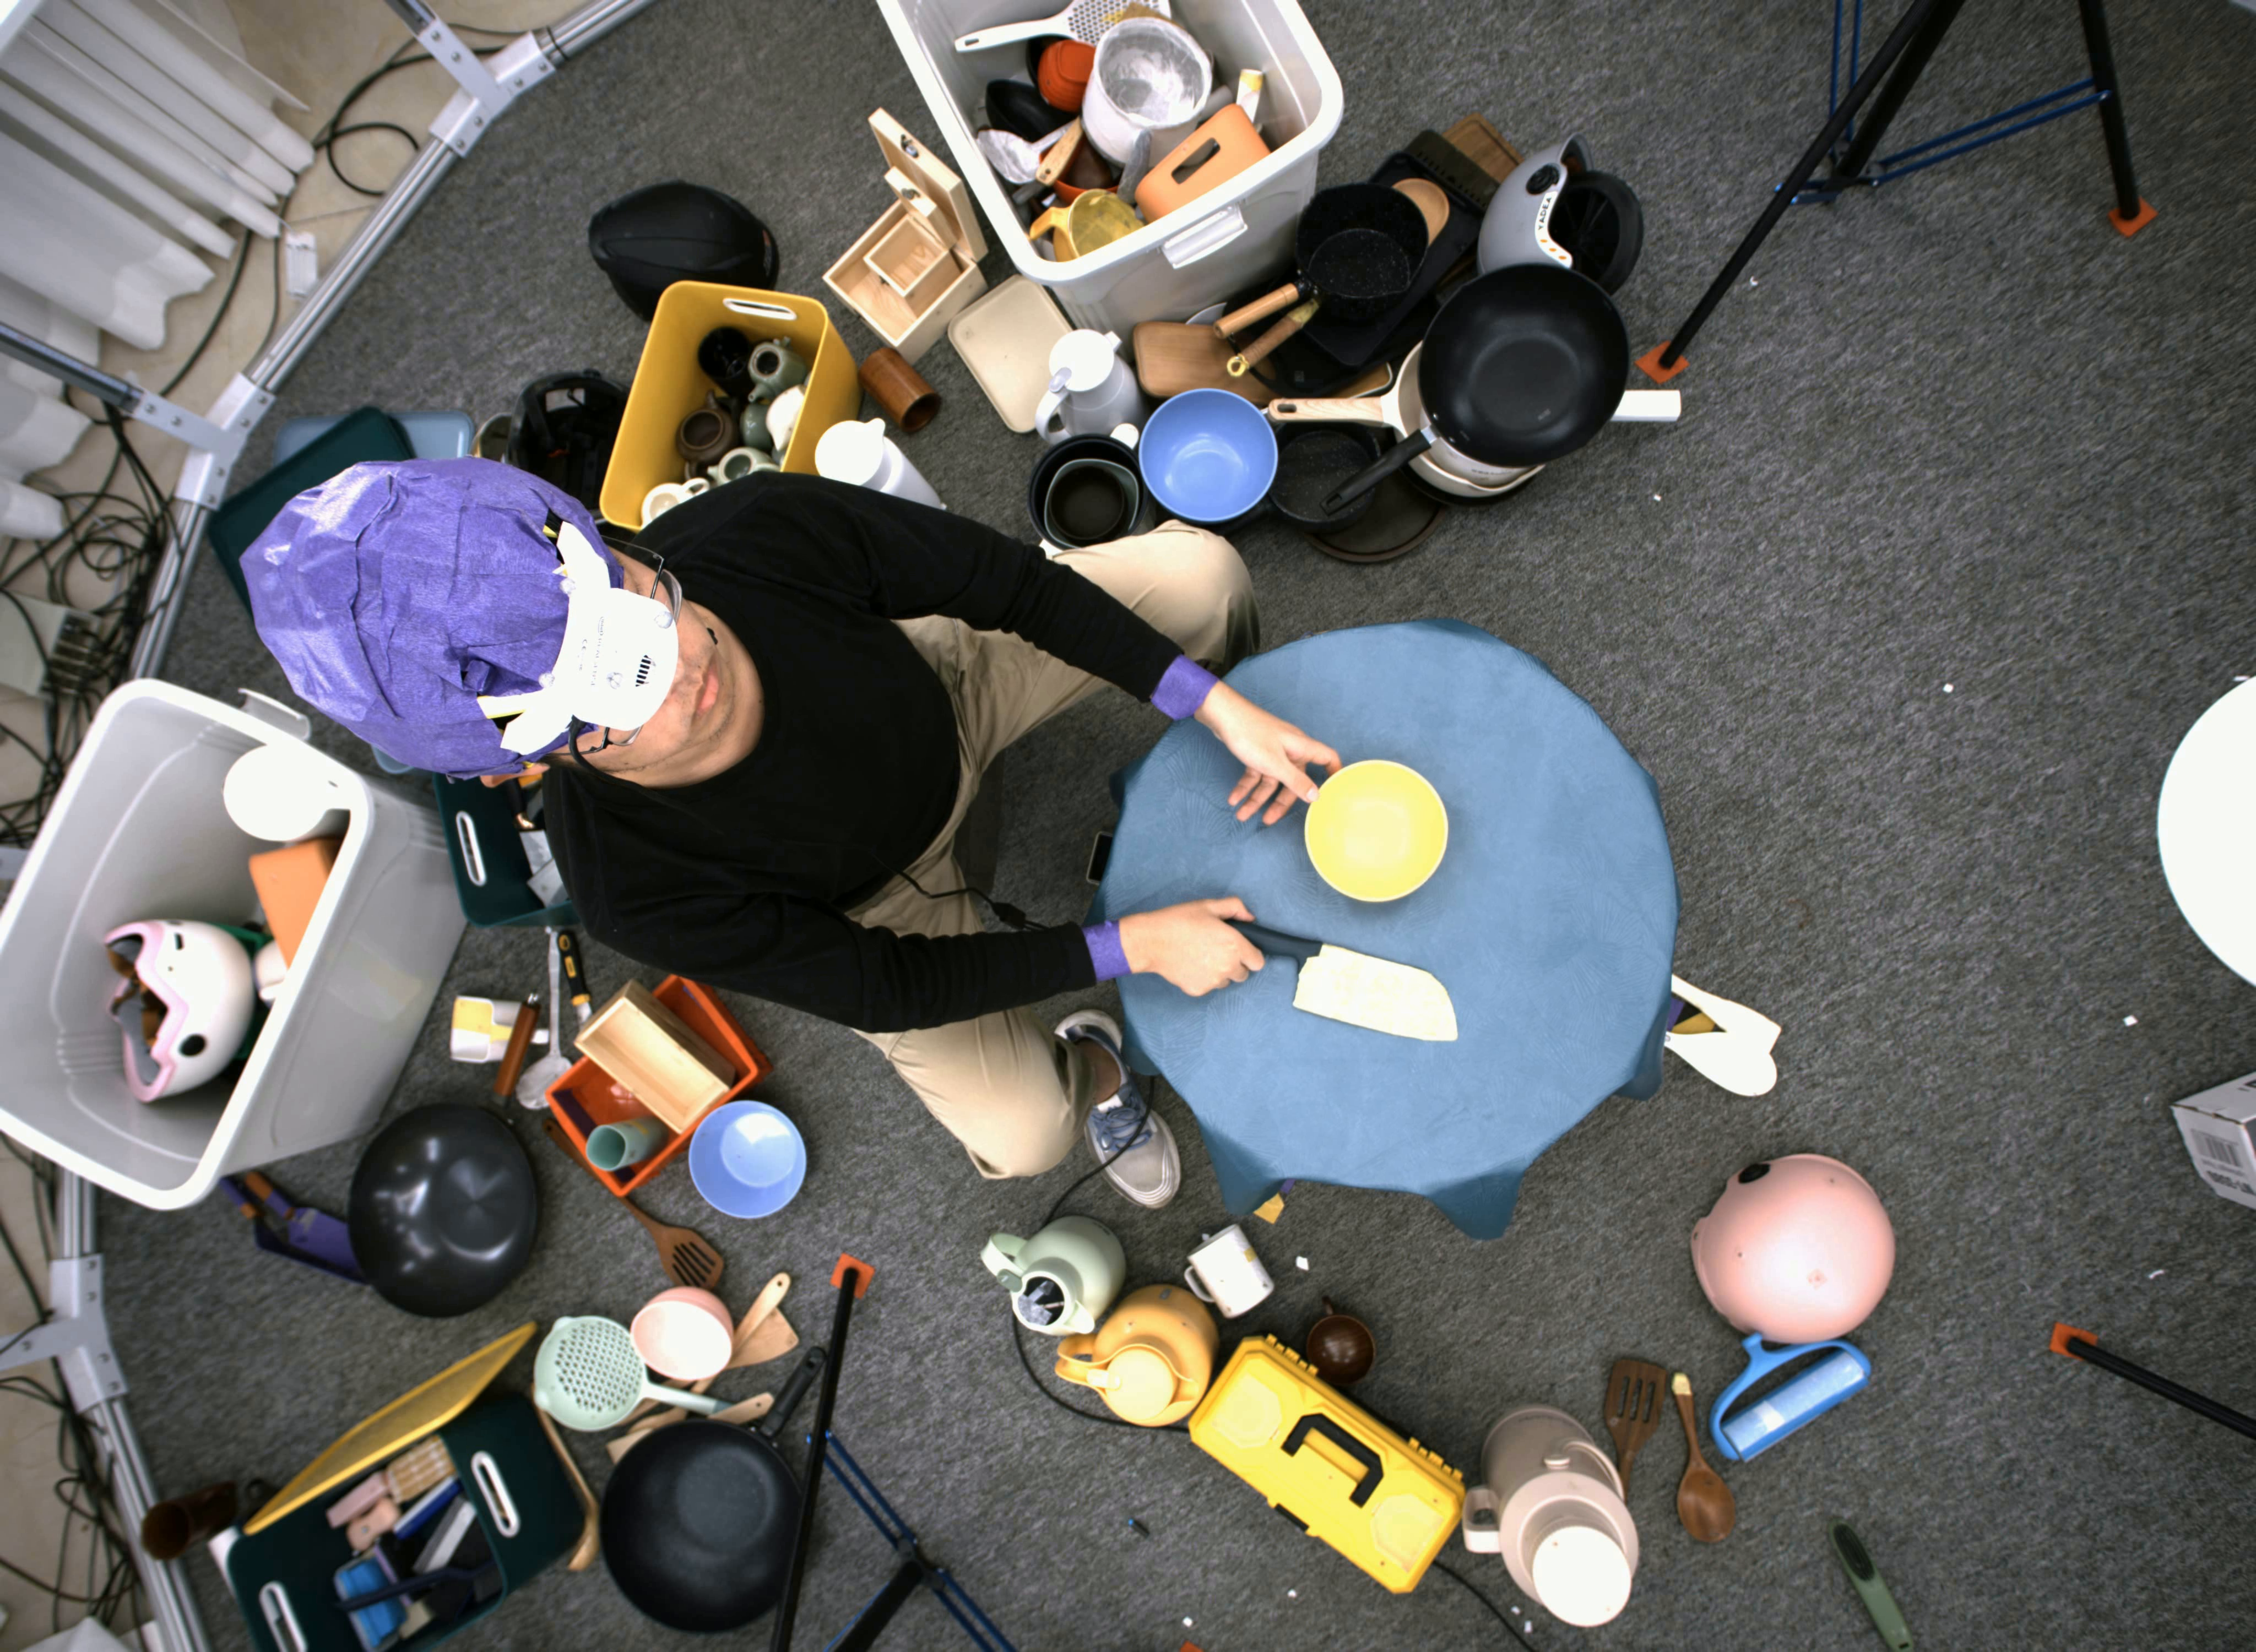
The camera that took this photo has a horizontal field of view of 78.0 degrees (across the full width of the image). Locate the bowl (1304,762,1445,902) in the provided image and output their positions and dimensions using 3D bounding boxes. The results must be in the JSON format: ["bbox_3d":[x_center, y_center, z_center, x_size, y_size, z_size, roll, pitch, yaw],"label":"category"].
[{"bbox_3d":[0.256,0.008,1.437,0.146,0.060,0.144,-1,84,10],"label":"bowl"}]

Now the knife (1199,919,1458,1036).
[{"bbox_3d":[0.208,0.158,1.462,0.290,0.027,0.081,18,89,10],"label":"knife"}]
